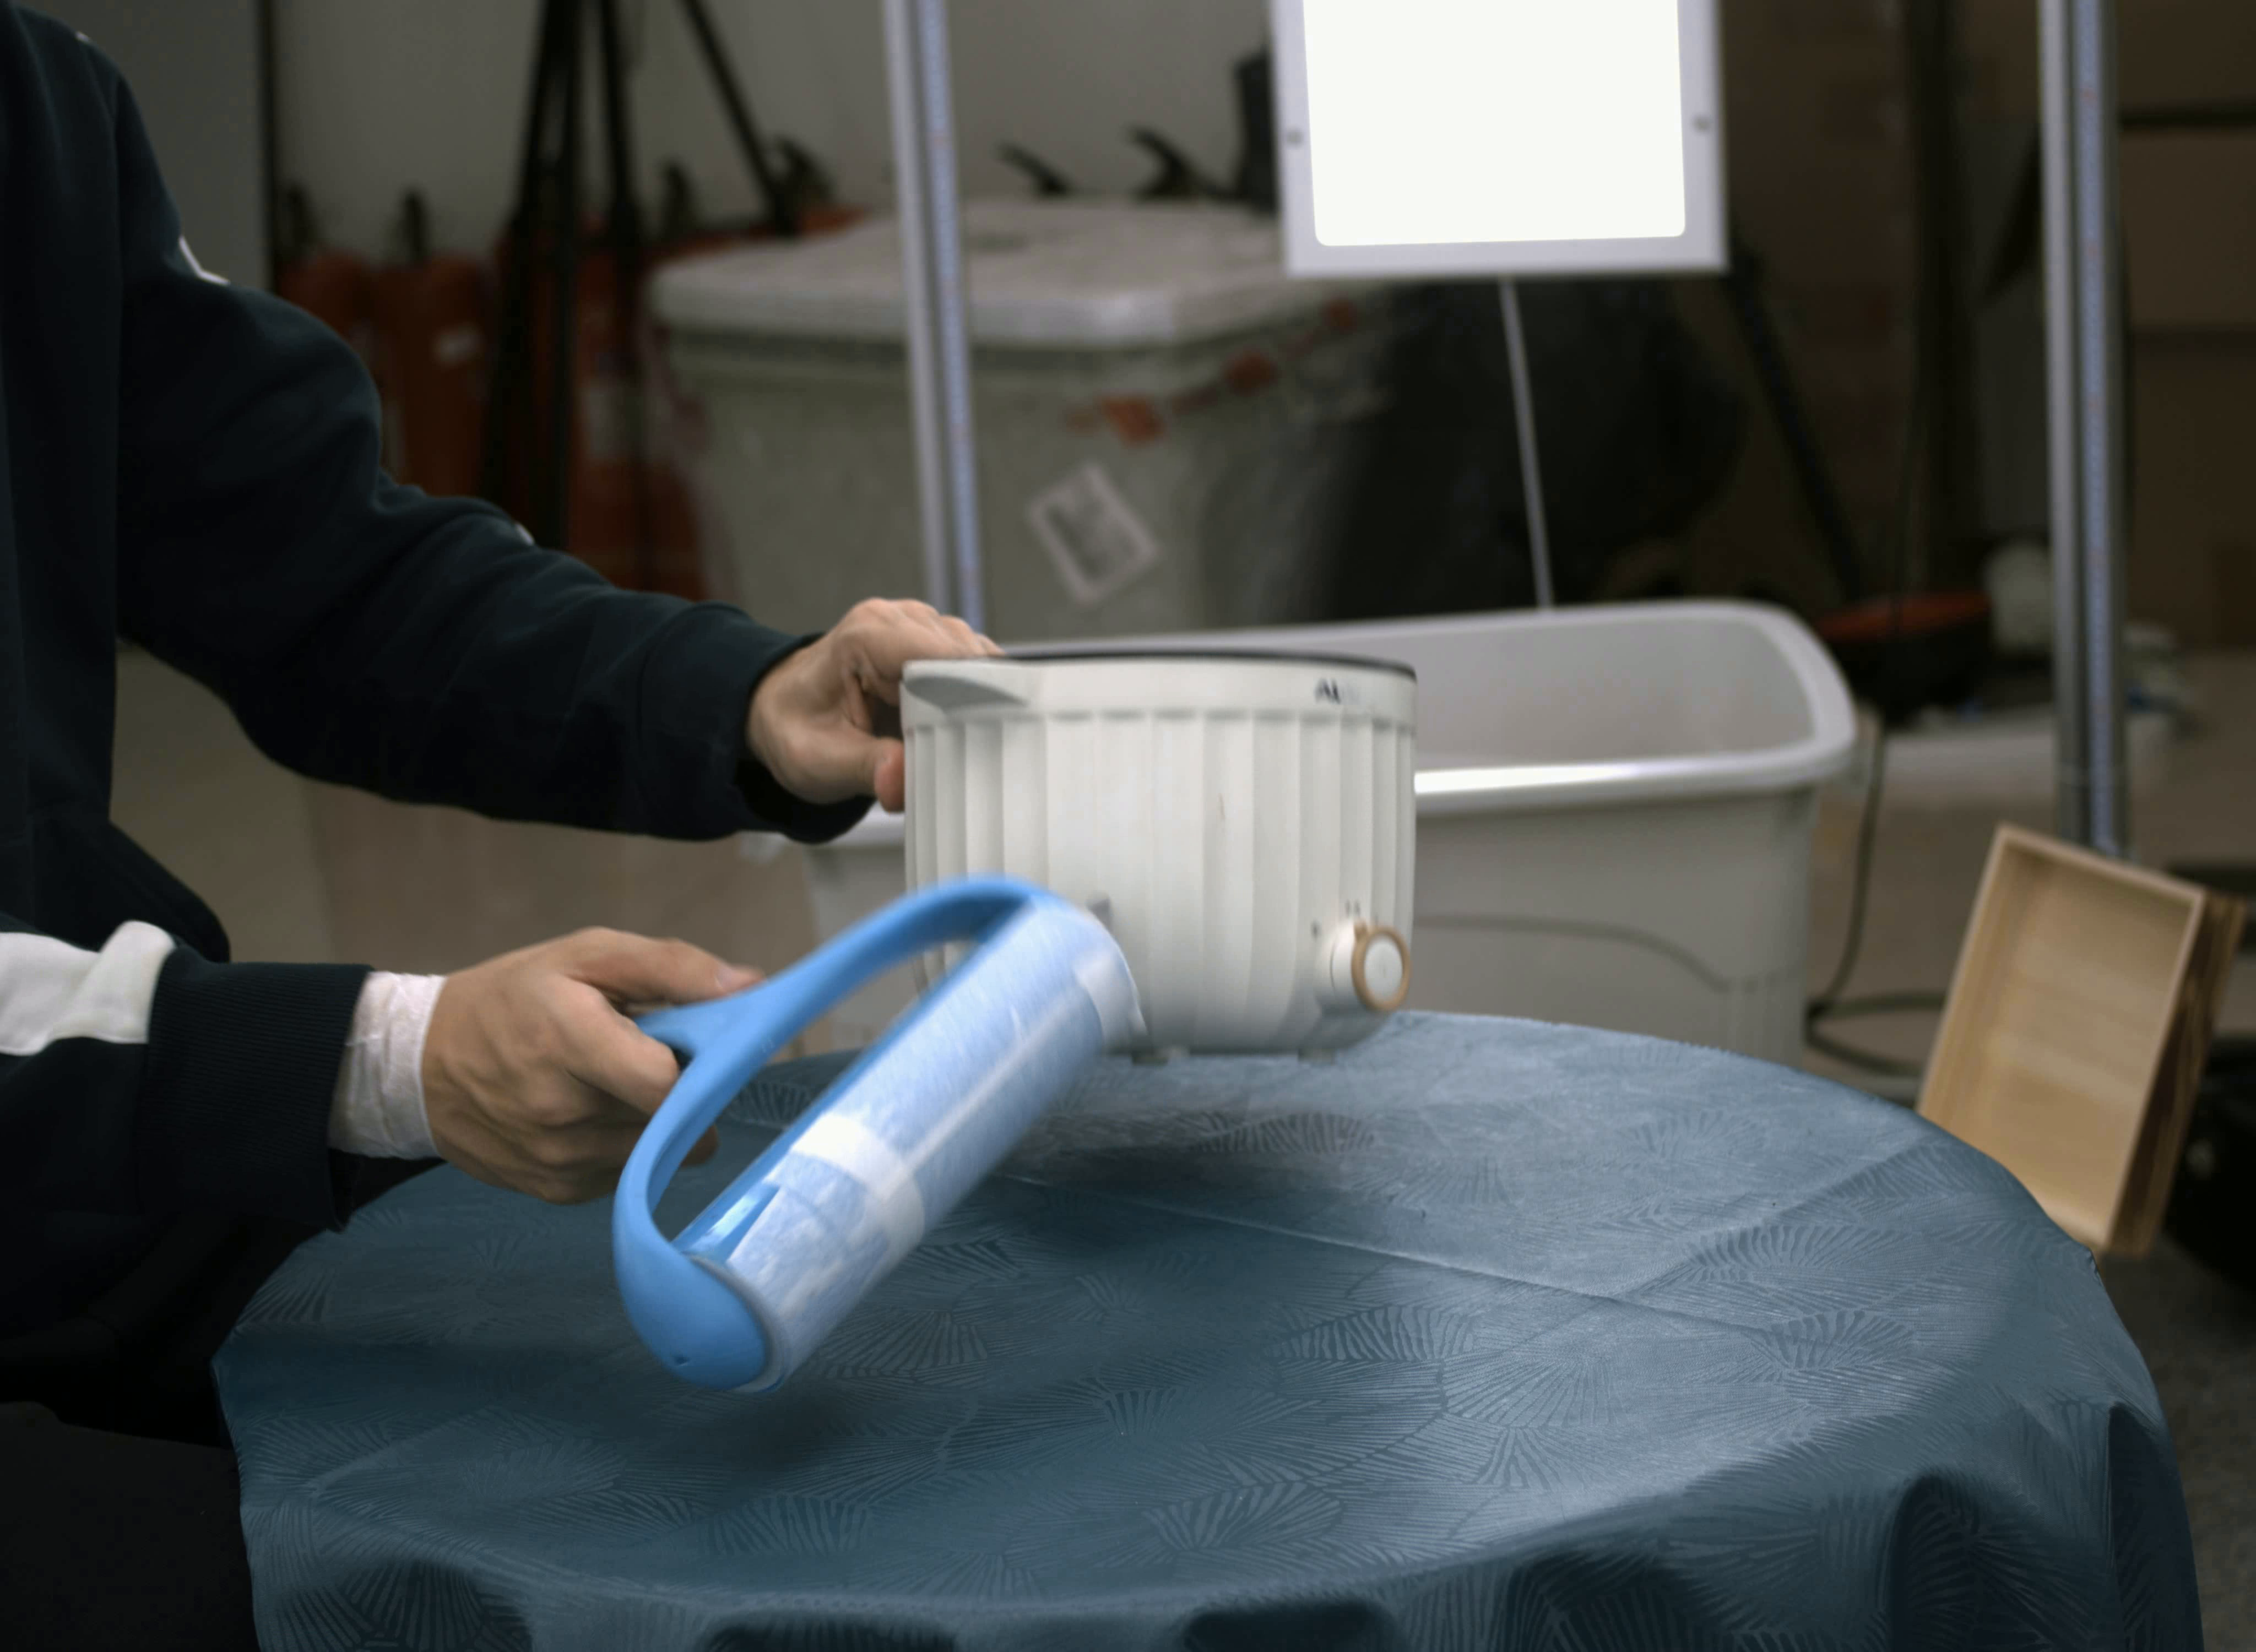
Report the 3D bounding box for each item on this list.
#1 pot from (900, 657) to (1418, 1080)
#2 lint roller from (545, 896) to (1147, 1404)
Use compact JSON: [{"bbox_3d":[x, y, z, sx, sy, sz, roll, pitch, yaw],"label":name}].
[{"bbox_3d":[0.016,0.017,1.911,0.195,0.143,0.234,-7,-6,41],"label":"pot"},{"bbox_3d":[-0.119,0.091,1.736,0.184,0.068,0.224,11,40,33],"label":"lint roller"}]
